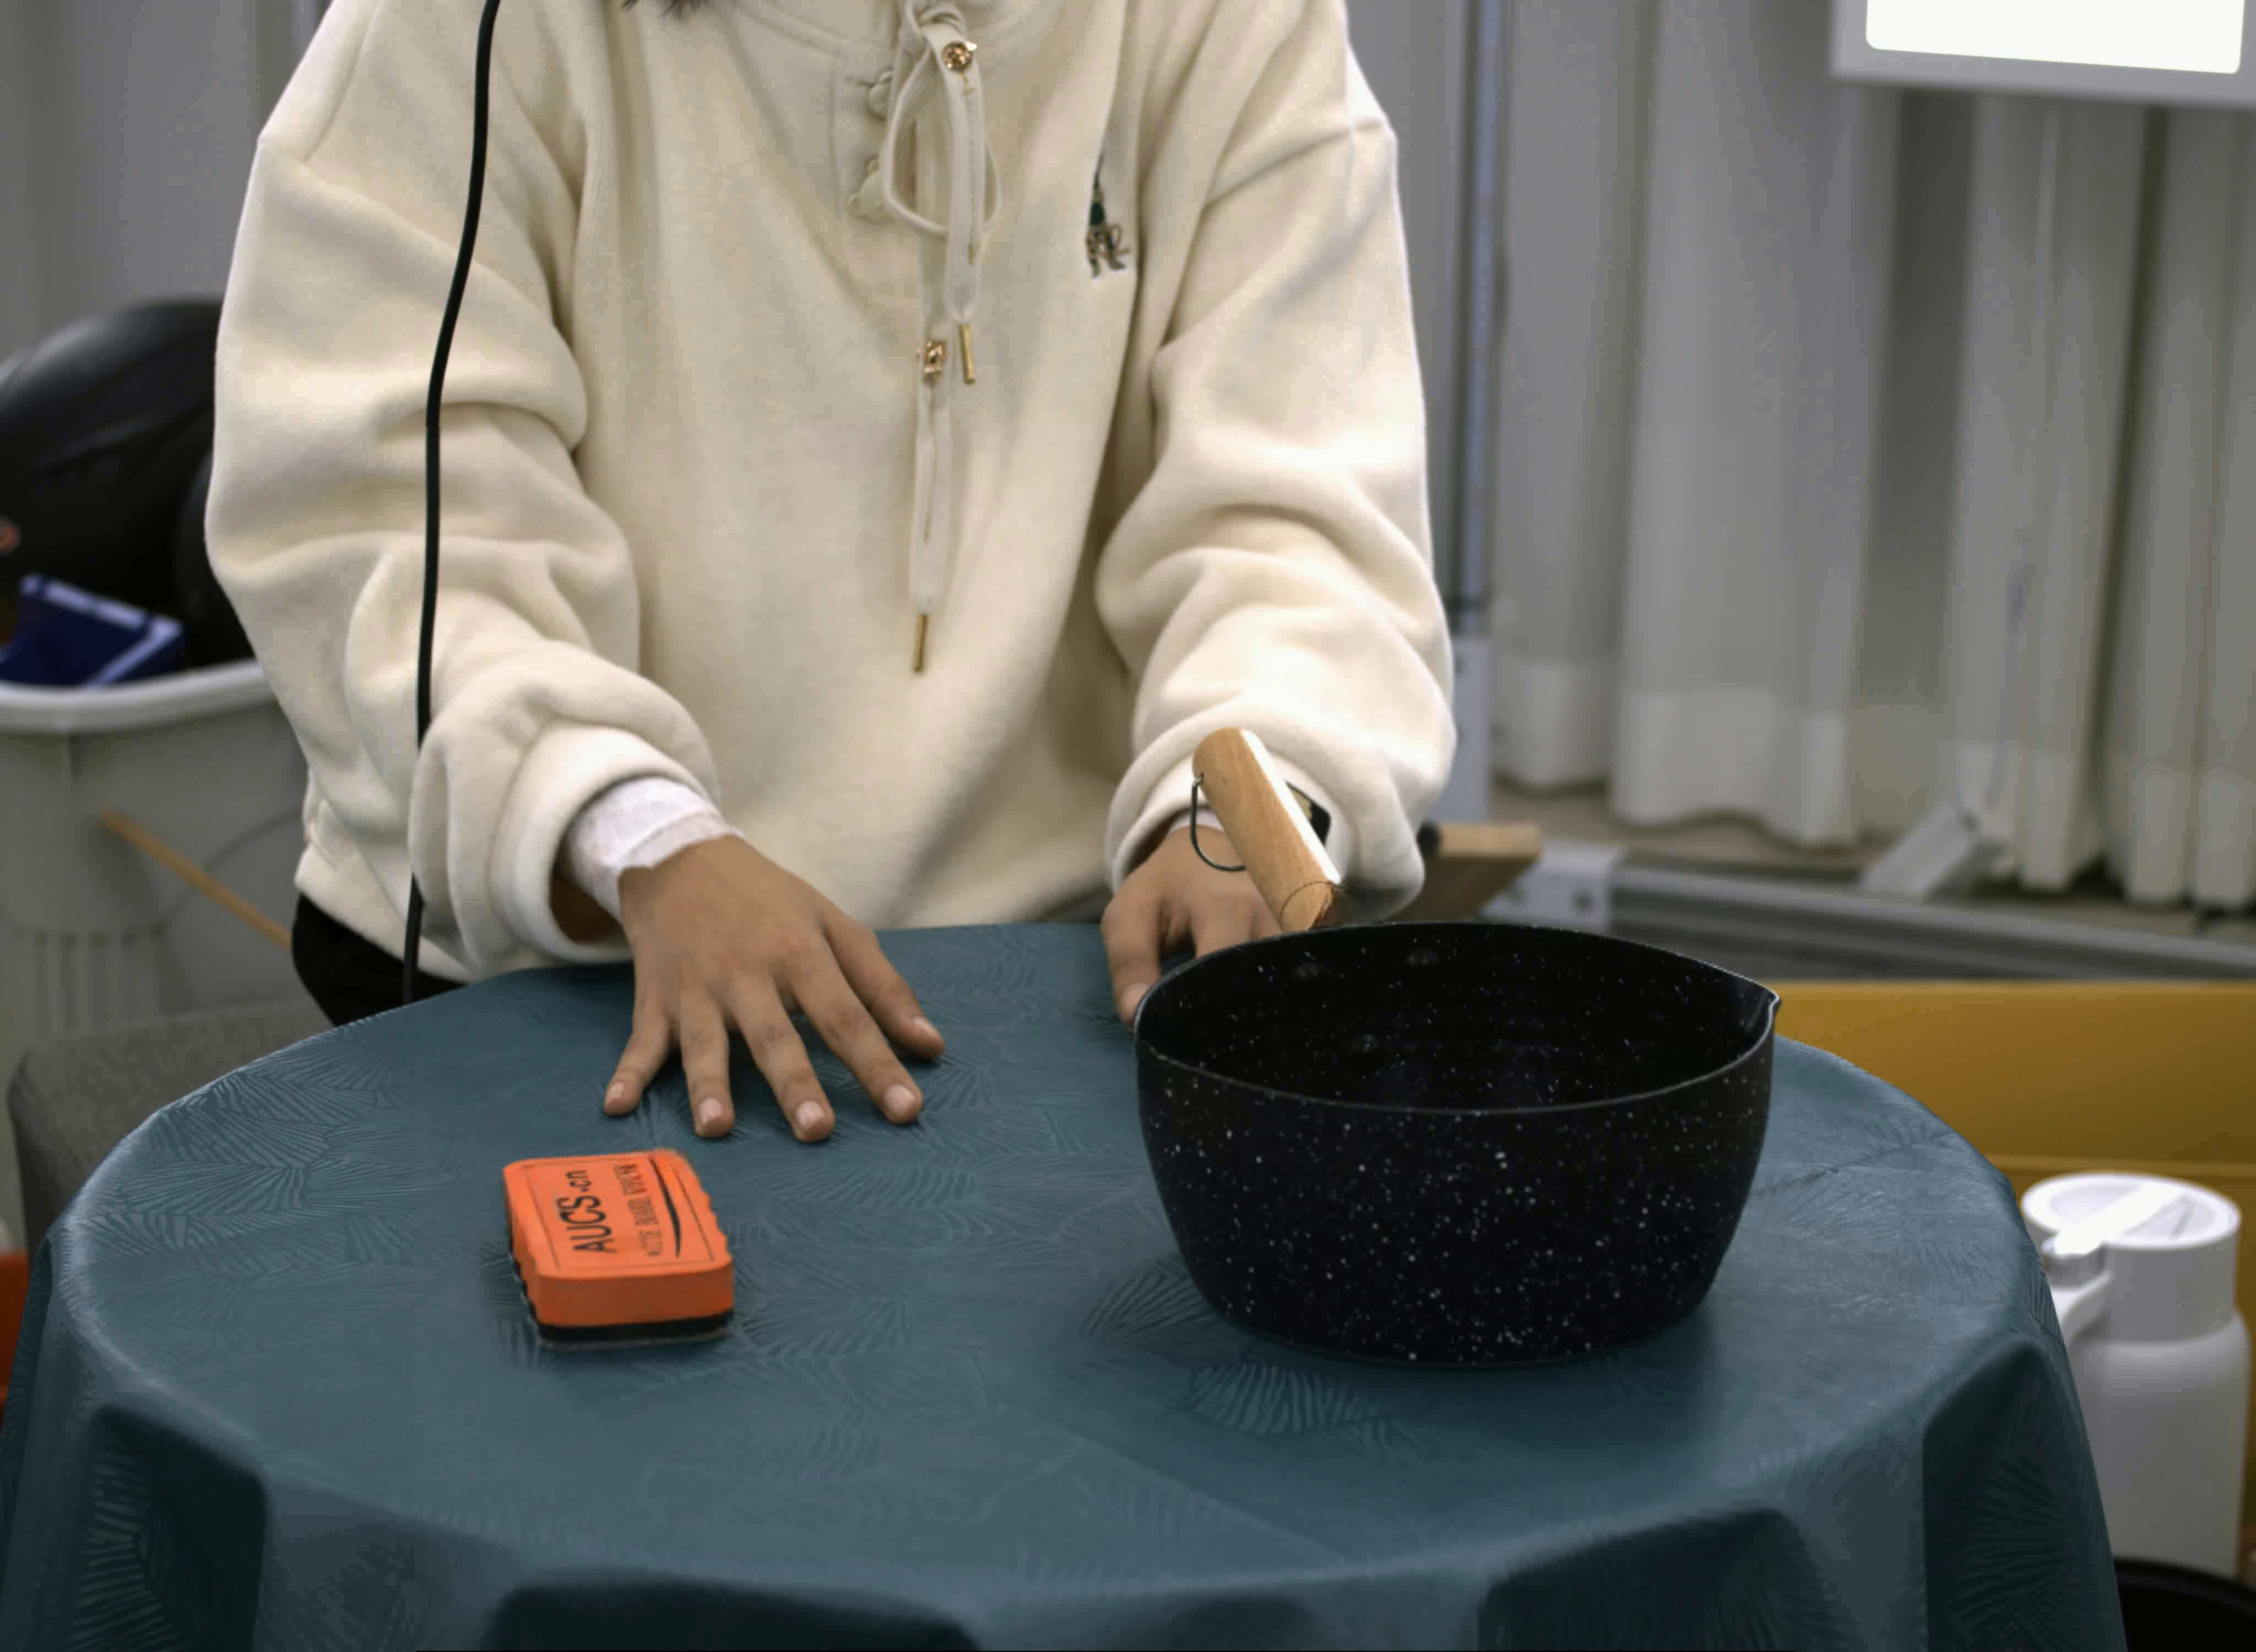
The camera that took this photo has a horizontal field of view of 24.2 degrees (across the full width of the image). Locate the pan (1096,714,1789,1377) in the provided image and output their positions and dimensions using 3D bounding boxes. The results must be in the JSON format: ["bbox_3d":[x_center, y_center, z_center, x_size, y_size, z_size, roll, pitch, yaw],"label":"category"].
[{"bbox_3d":[0.073,0.061,1.604,0.208,0.109,0.339,-5,18,-15],"label":"pan"}]

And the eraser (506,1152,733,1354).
[{"bbox_3d":[-0.149,0.123,1.534,0.059,0.023,0.107,-4,16,-11],"label":"eraser"}]
